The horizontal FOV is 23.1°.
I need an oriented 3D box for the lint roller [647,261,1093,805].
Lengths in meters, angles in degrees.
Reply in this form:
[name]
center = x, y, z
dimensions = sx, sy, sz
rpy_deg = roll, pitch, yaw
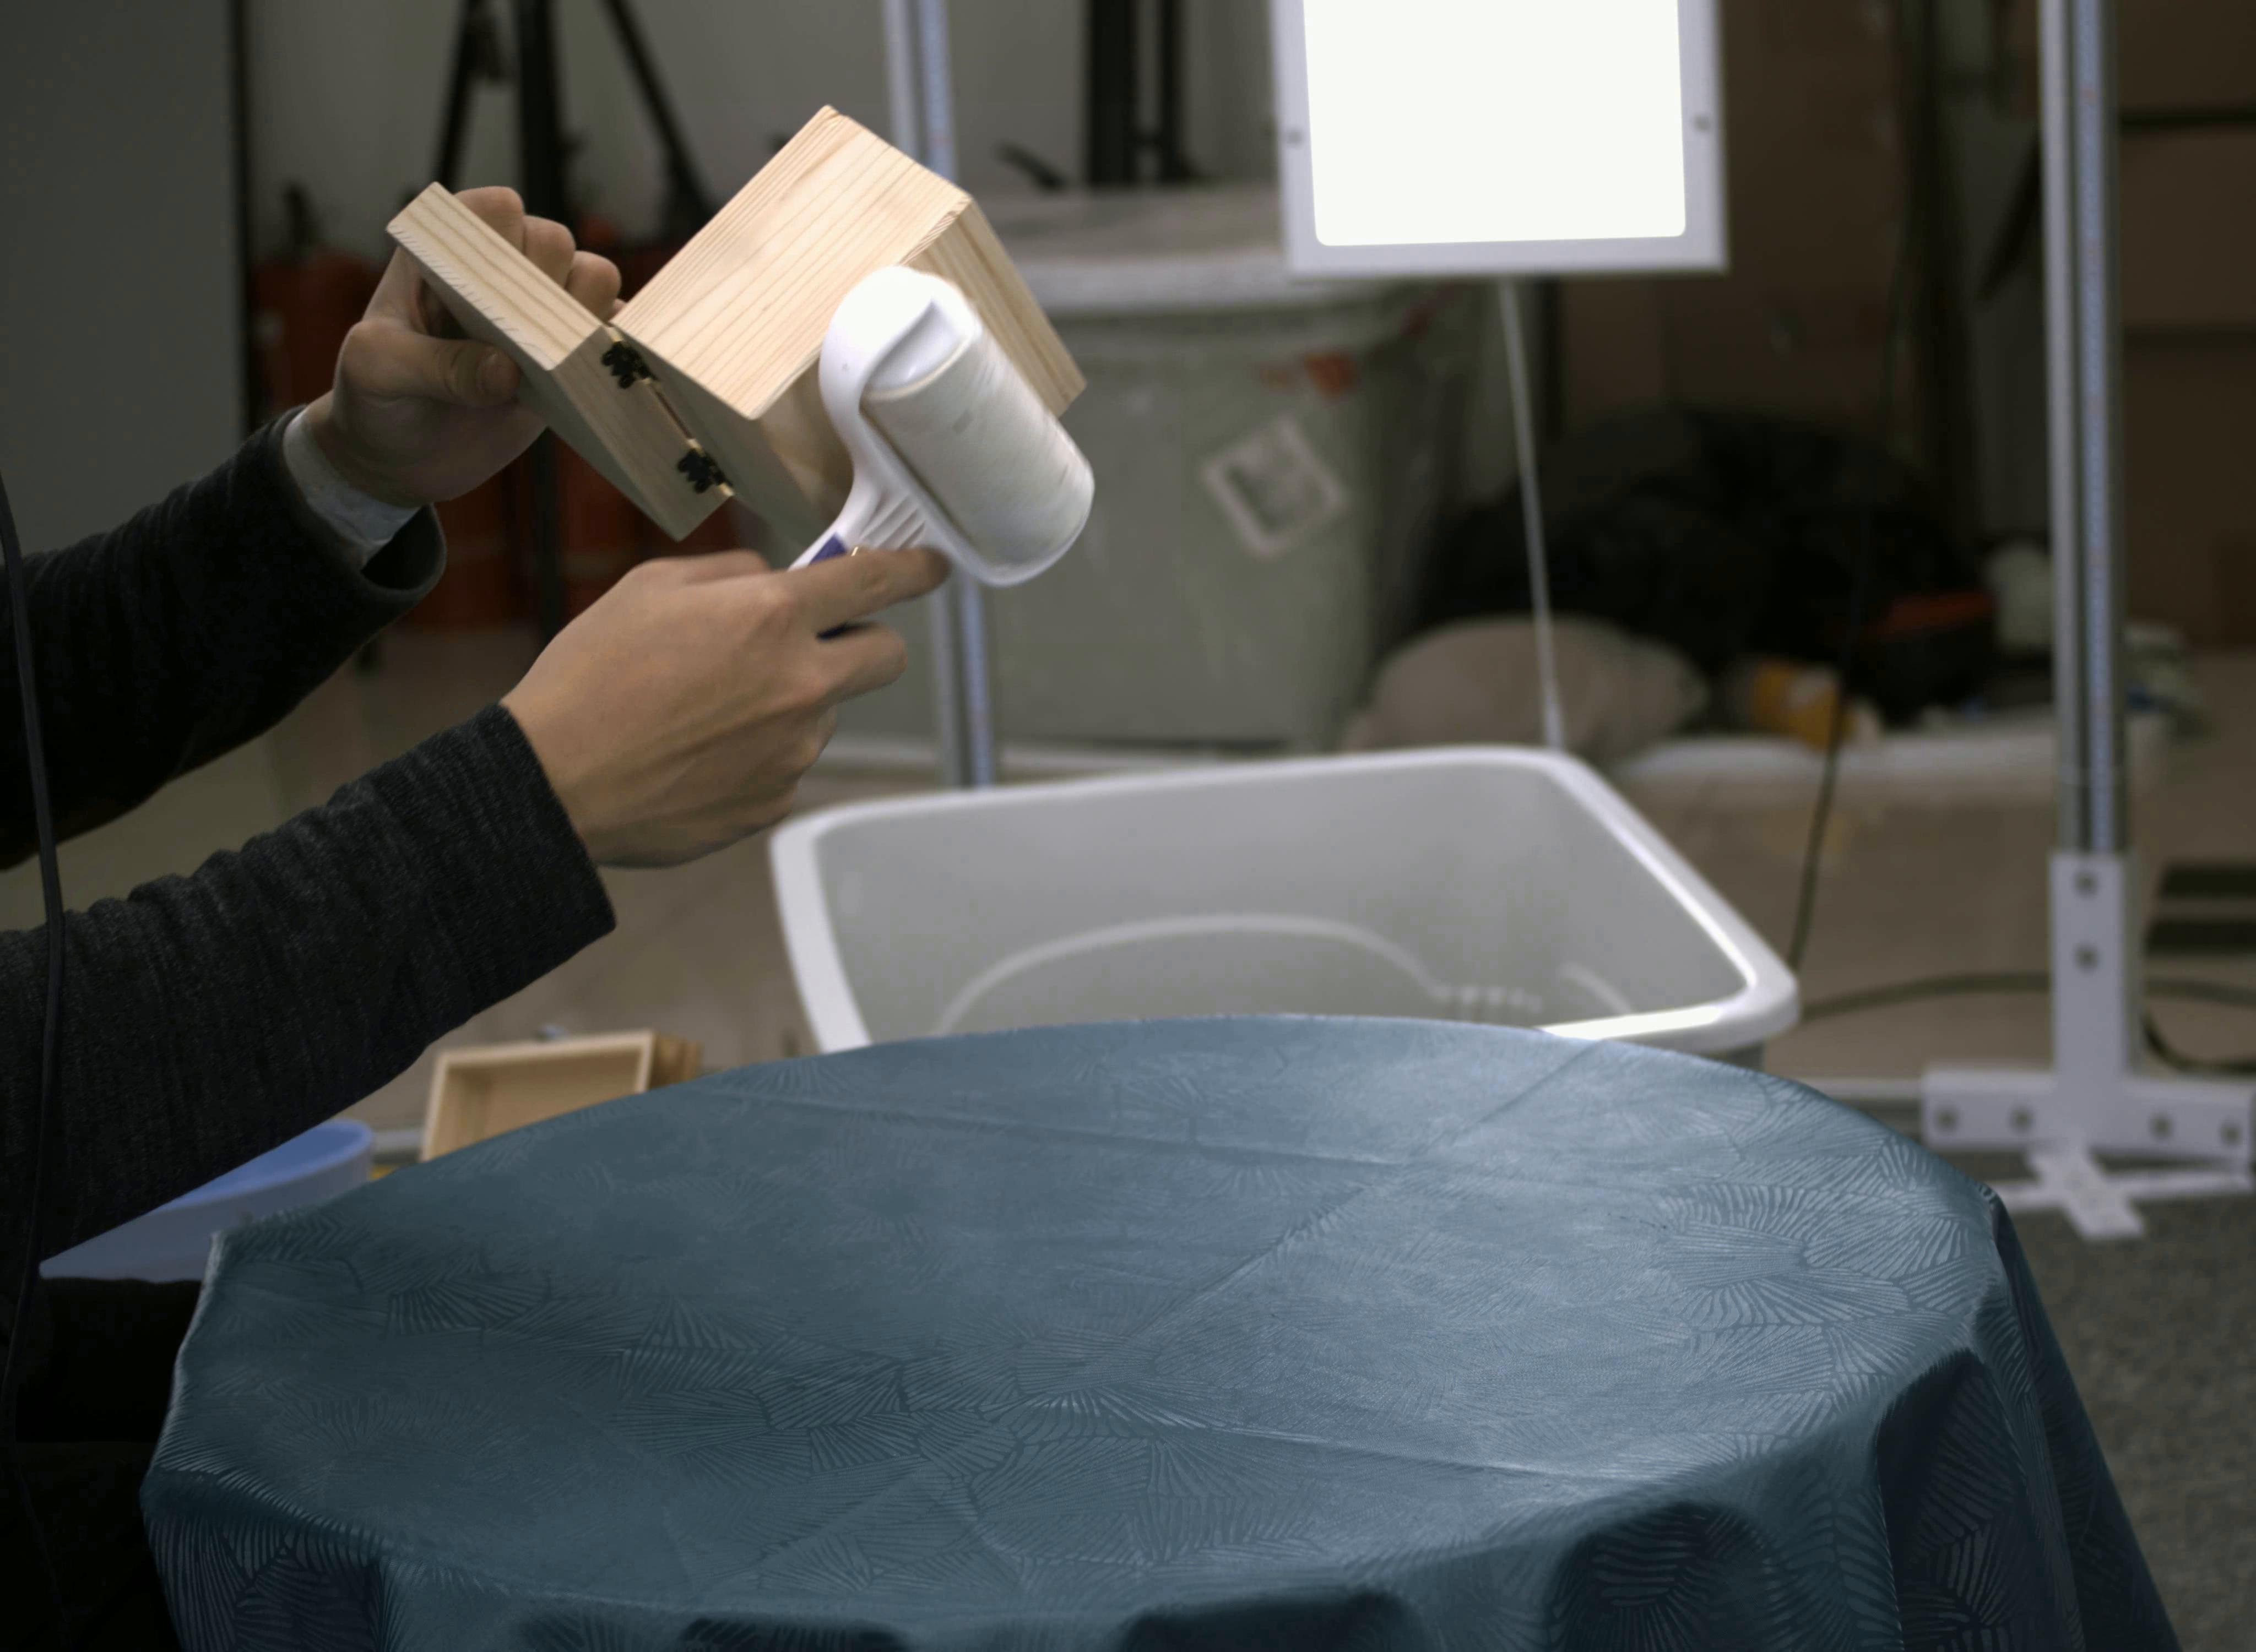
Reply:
[lint roller]
center = -0.086, -0.078, 1.719
dimensions = 0.051, 0.131, 0.179
rpy_deg = 23, 72, 35

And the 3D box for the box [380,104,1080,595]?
[box]
center = -0.130, -0.171, 1.809
dimensions = 0.133, 0.101, 0.187
rpy_deg = -46, 50, -9
